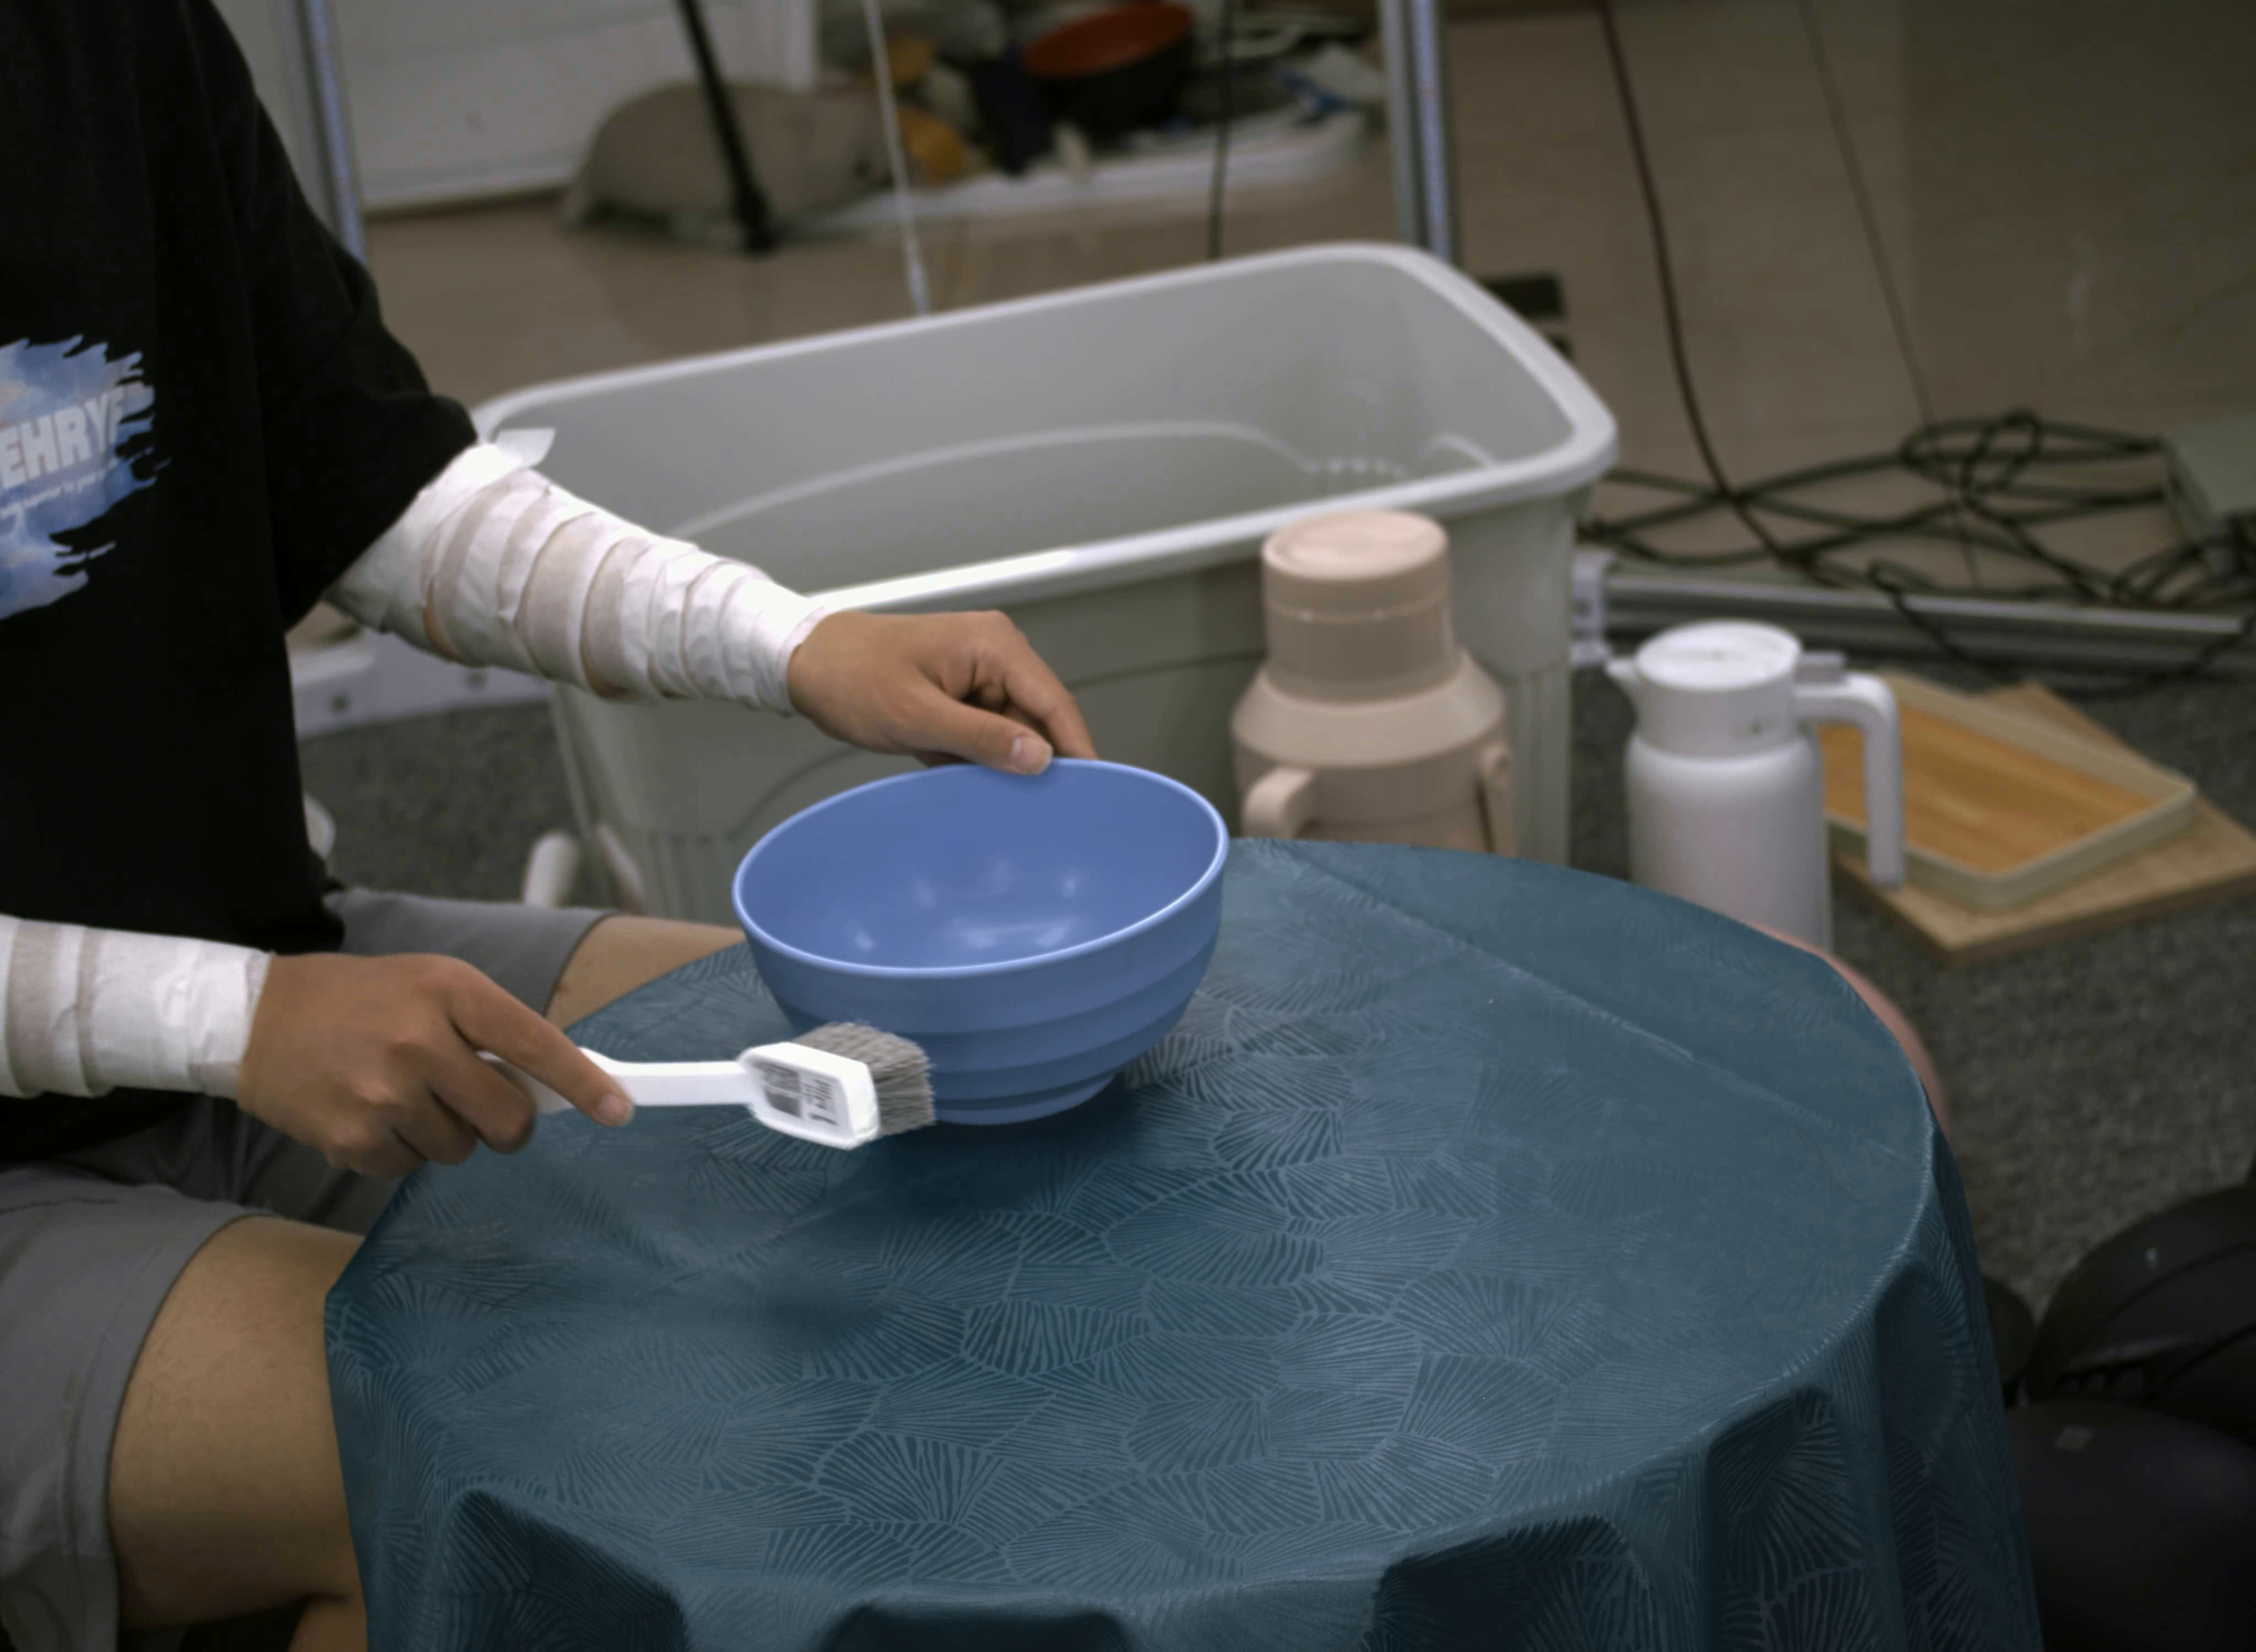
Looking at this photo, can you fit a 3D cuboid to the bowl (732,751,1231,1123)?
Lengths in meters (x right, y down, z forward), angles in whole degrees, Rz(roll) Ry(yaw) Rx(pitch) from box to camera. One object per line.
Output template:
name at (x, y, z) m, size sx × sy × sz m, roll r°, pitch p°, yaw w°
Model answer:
bowl at (-0.053, 0.054, 2.229) m, size 0.196 × 0.097 × 0.193 m, roll -5°, pitch 26°, yaw 3°

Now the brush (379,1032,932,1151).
brush at (-0.176, 0.096, 2.120) m, size 0.243 × 0.035 × 0.050 m, roll 0°, pitch 14°, yaw 34°
